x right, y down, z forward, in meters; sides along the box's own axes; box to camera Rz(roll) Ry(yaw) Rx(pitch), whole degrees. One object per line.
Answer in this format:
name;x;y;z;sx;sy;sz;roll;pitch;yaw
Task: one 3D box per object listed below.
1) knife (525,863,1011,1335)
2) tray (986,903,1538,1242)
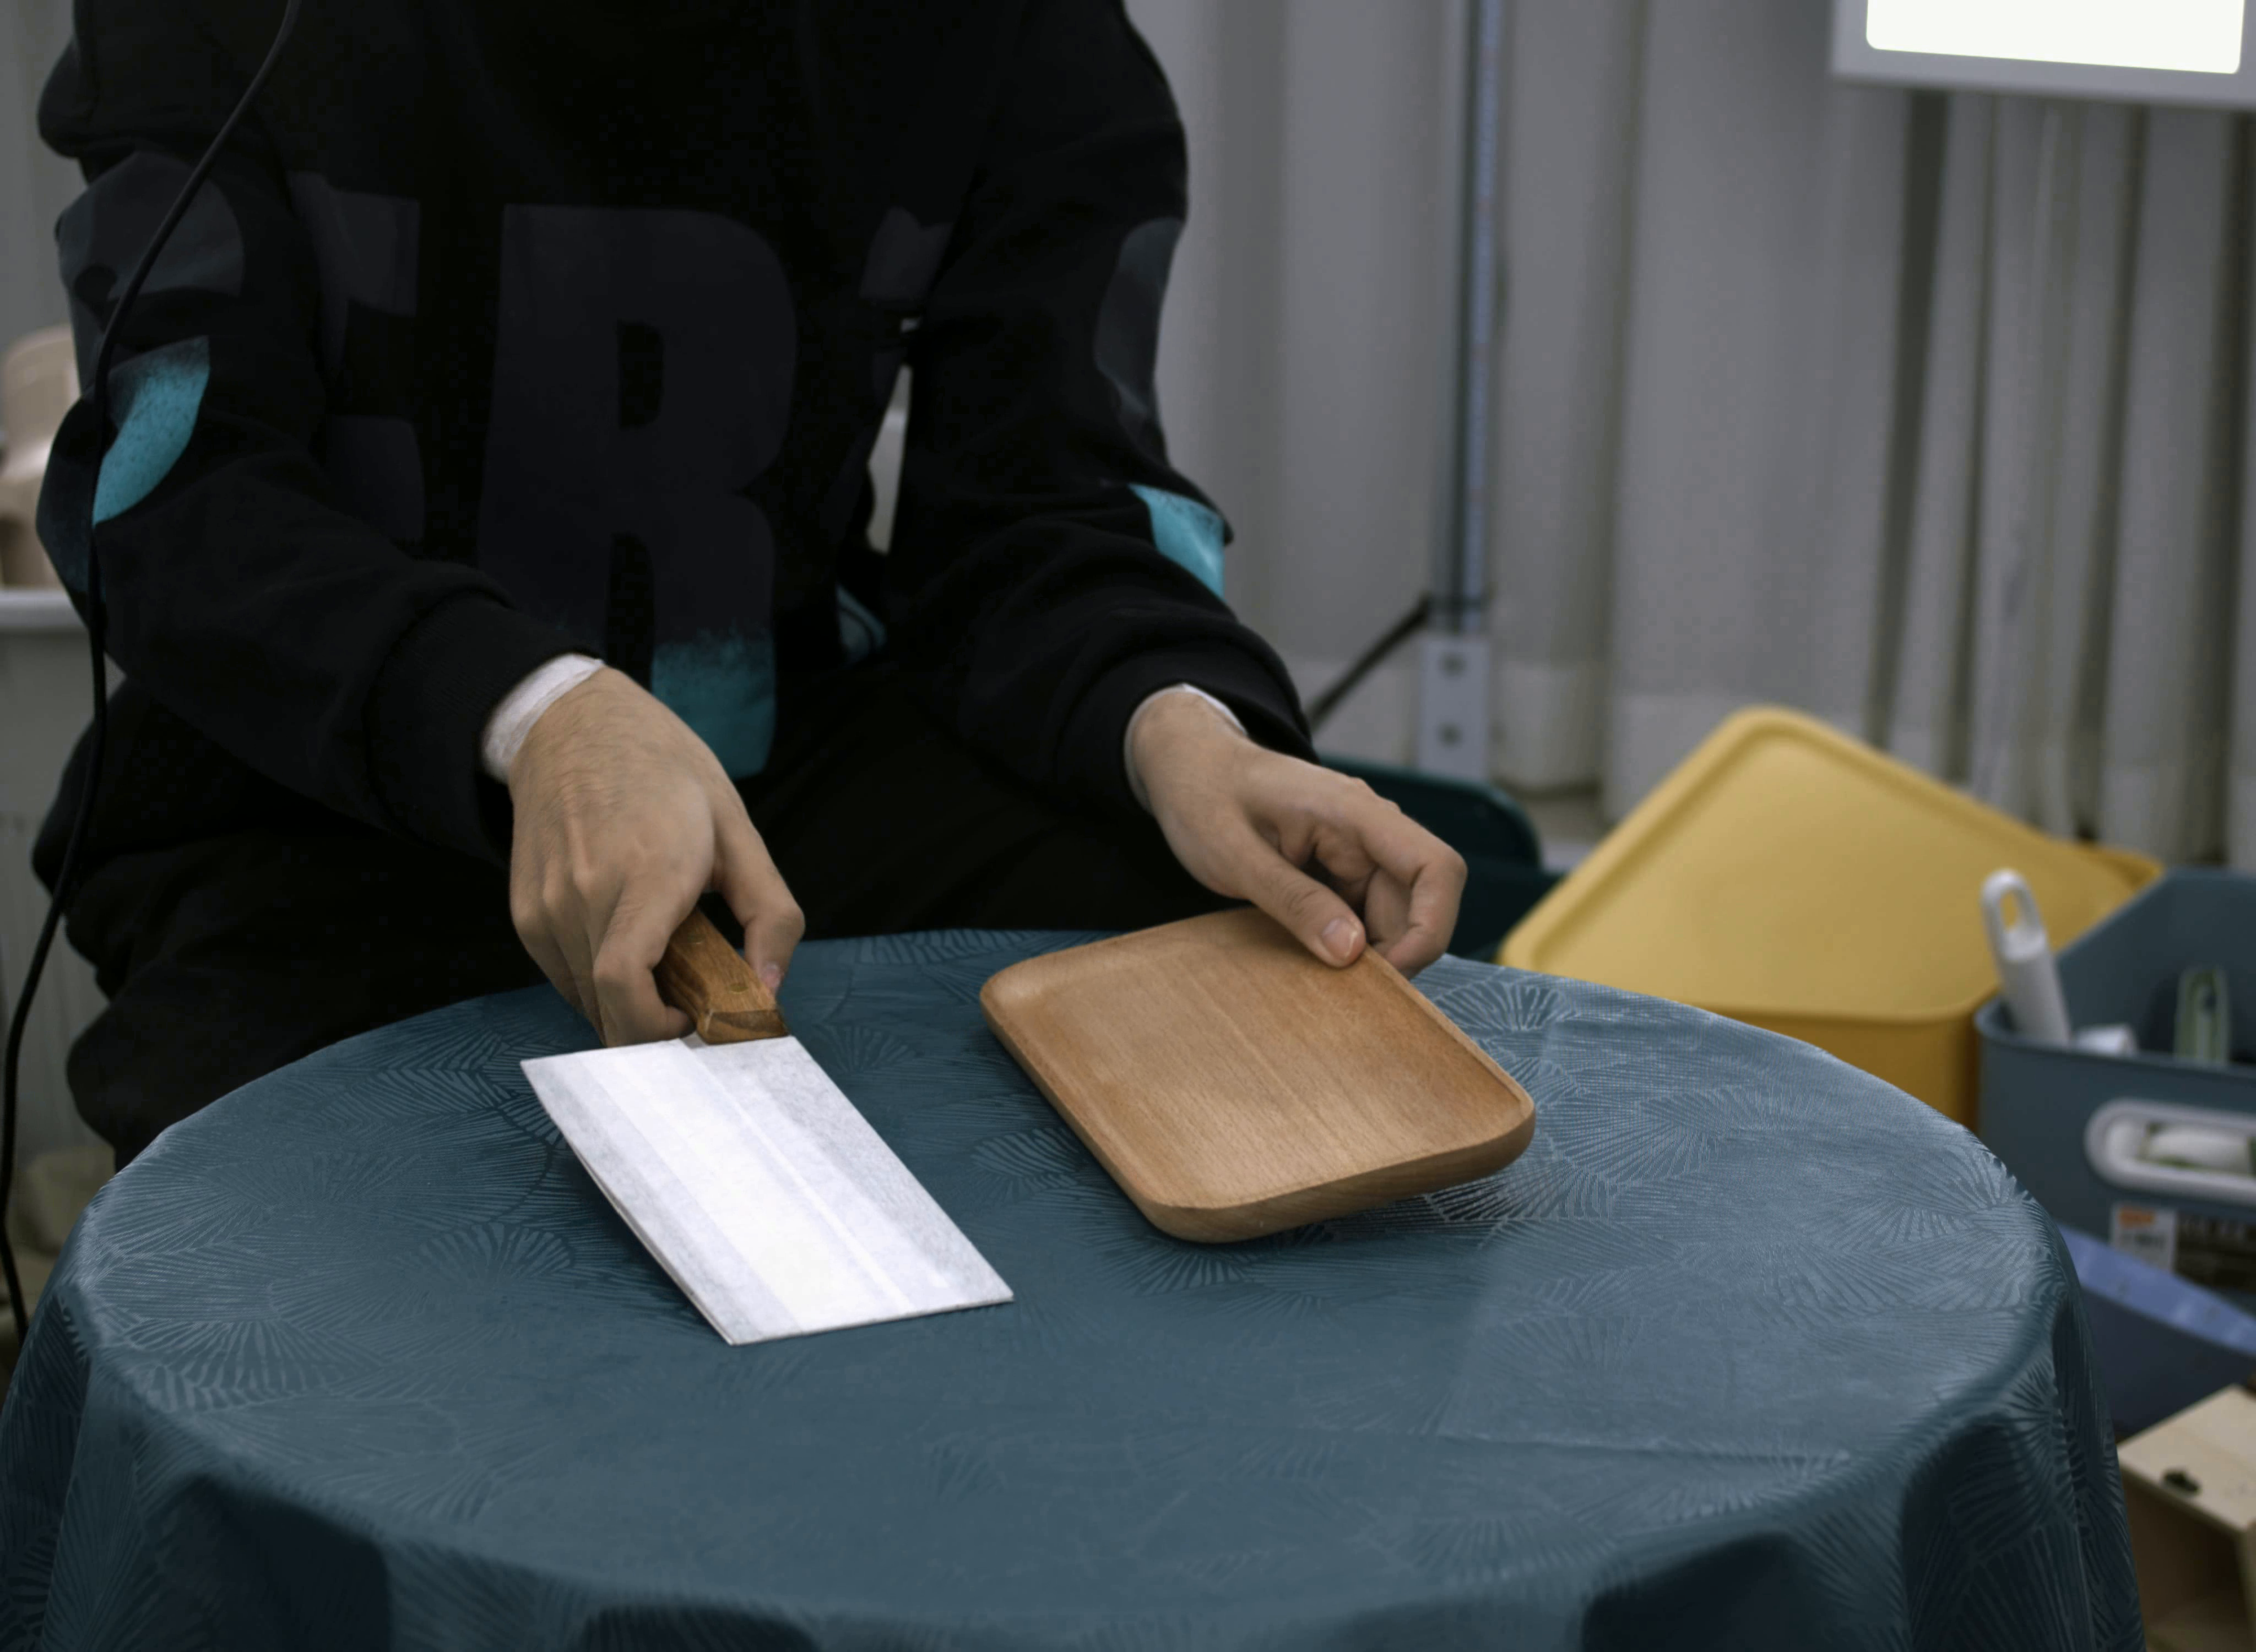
knife;-0.133;0.082;1.633;0.093;0.021;0.301;-7;26;-24
tray;0.039;0.076;1.687;0.130;0.023;0.248;-11;17;-12
